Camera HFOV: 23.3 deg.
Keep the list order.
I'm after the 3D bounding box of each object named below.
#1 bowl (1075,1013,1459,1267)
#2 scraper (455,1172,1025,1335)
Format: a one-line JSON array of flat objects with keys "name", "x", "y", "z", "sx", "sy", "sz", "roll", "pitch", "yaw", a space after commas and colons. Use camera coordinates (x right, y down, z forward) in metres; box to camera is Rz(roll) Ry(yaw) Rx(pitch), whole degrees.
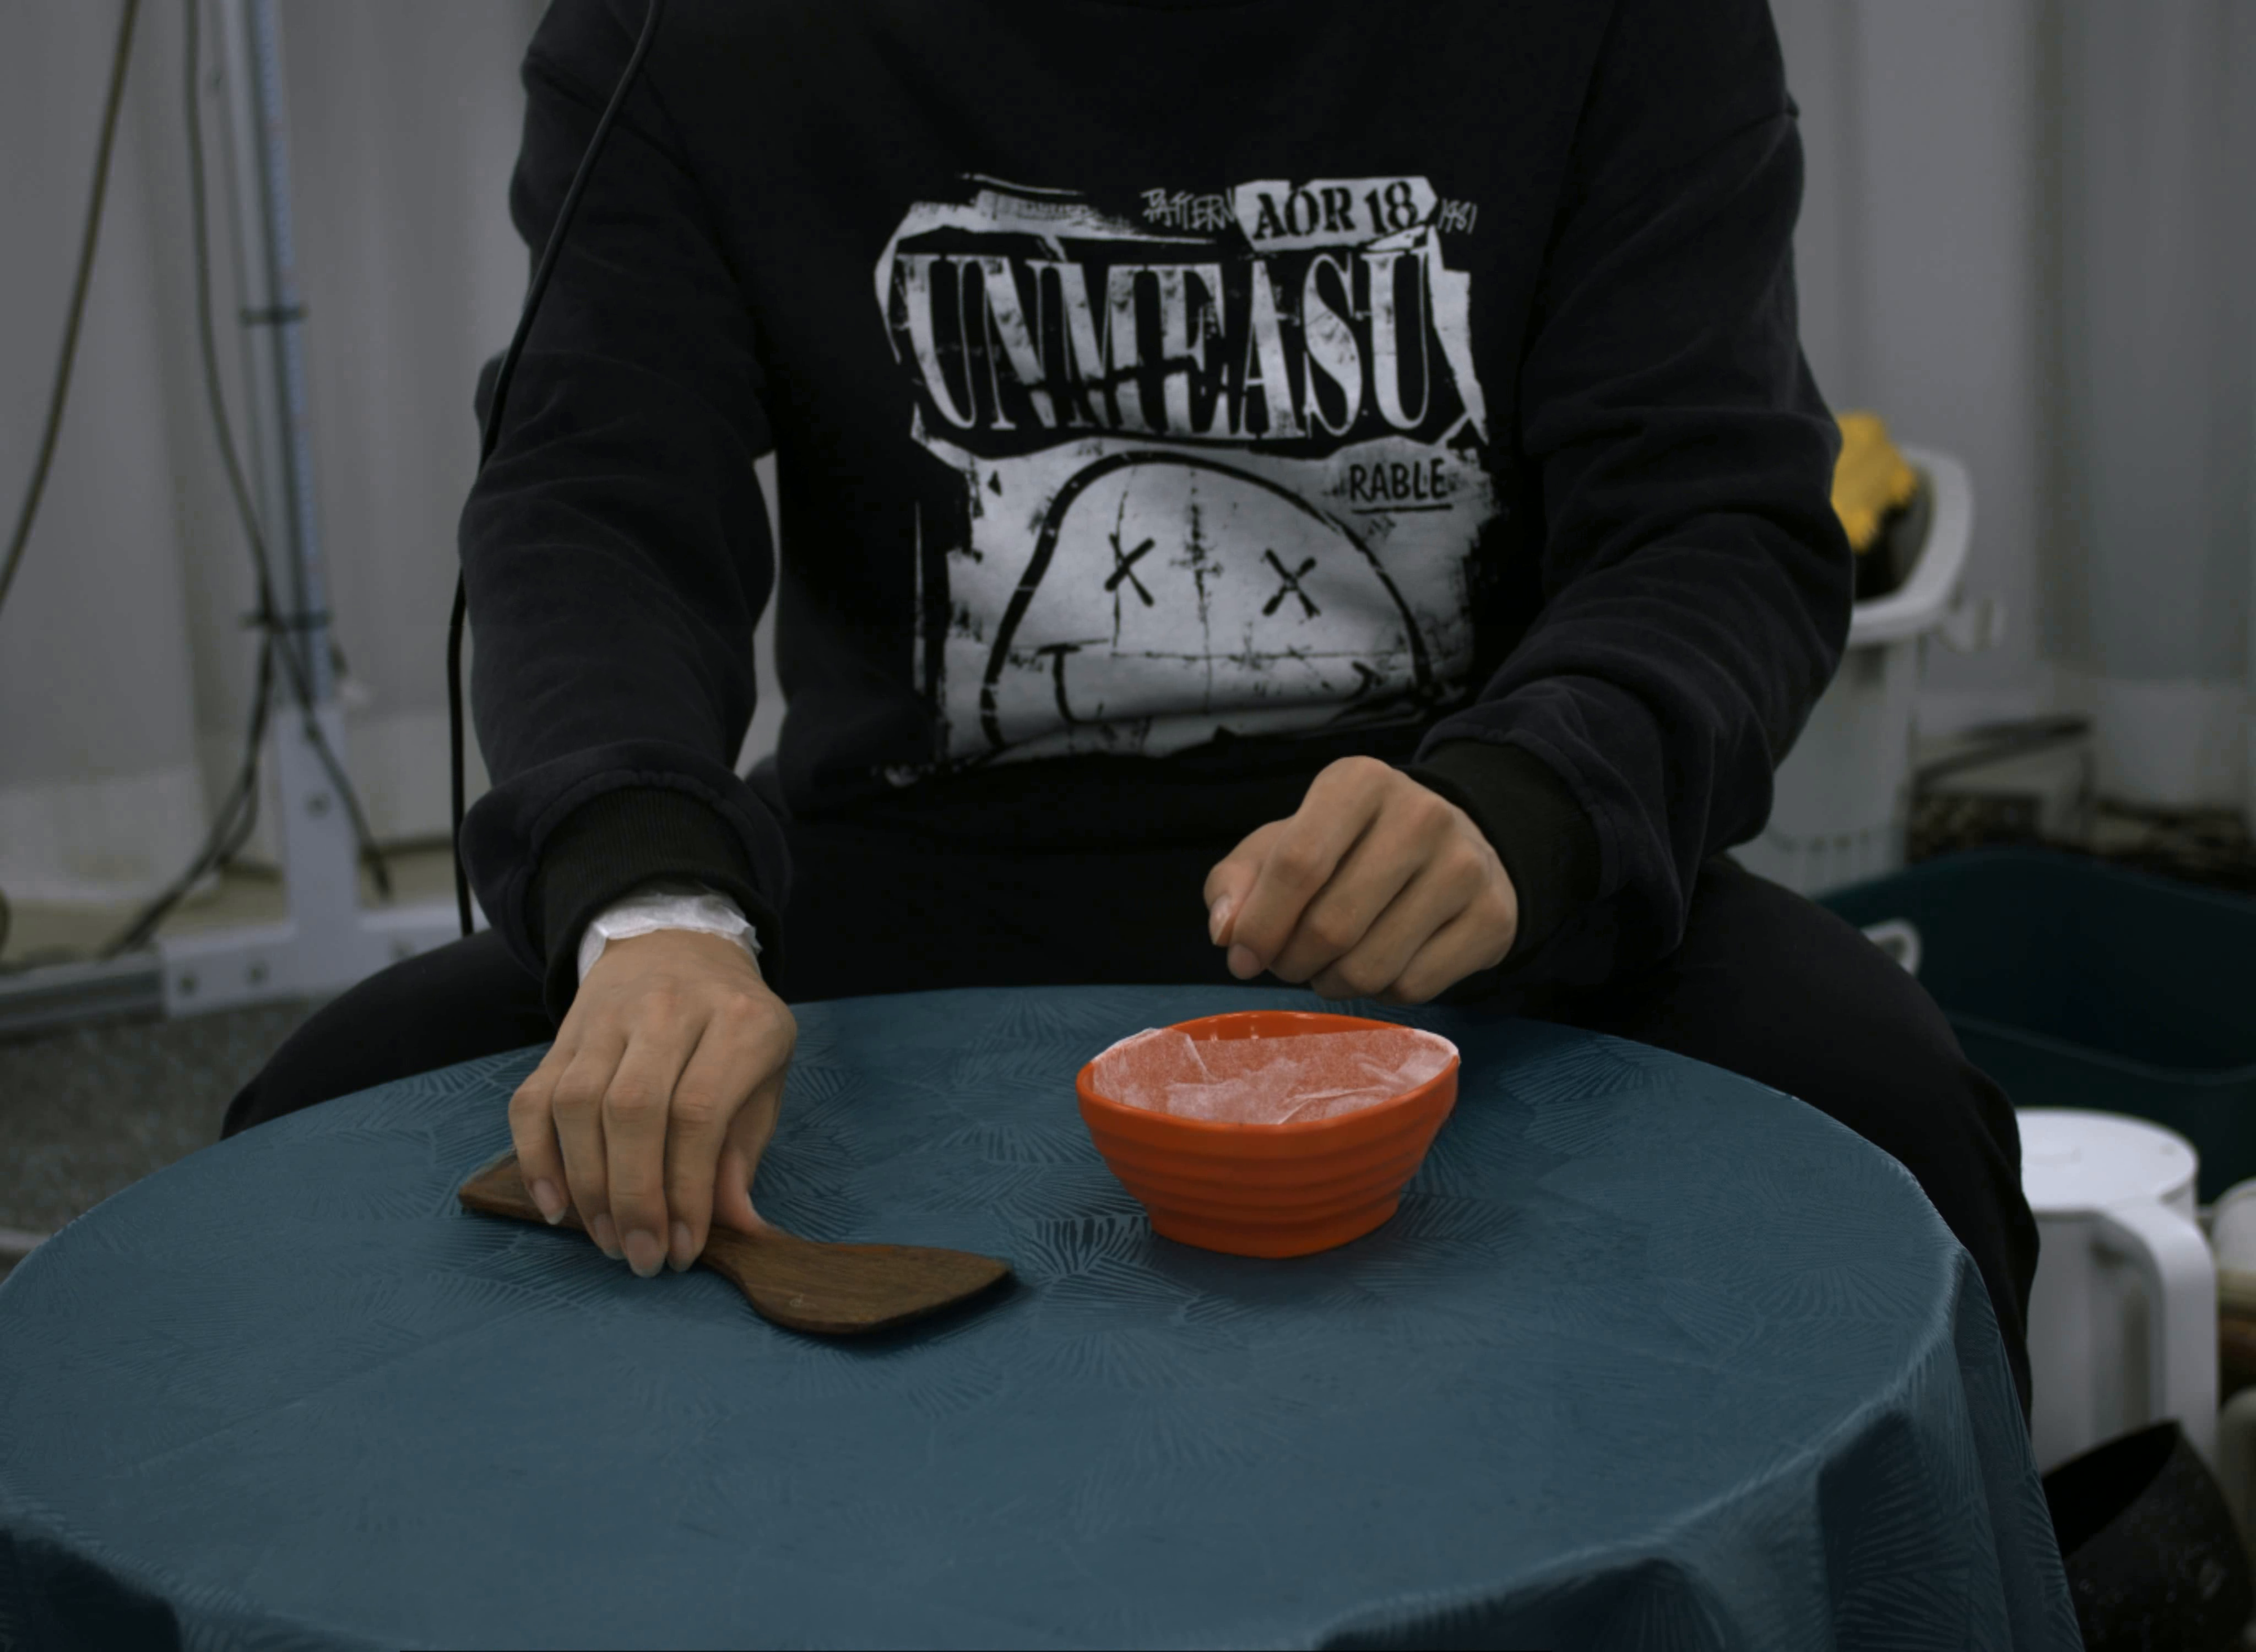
[{"name": "bowl", "x": 0.044, "y": 0.098, "z": 1.675, "sx": 0.118, "sy": 0.051, "sz": 0.120, "roll": -3, "pitch": 16, "yaw": 1}, {"name": "scraper", "x": -0.127, "y": 0.128, "z": 1.671, "sx": 0.212, "sy": 0.011, "sz": 0.075, "roll": 10, "pitch": 18, "yaw": 40}]
